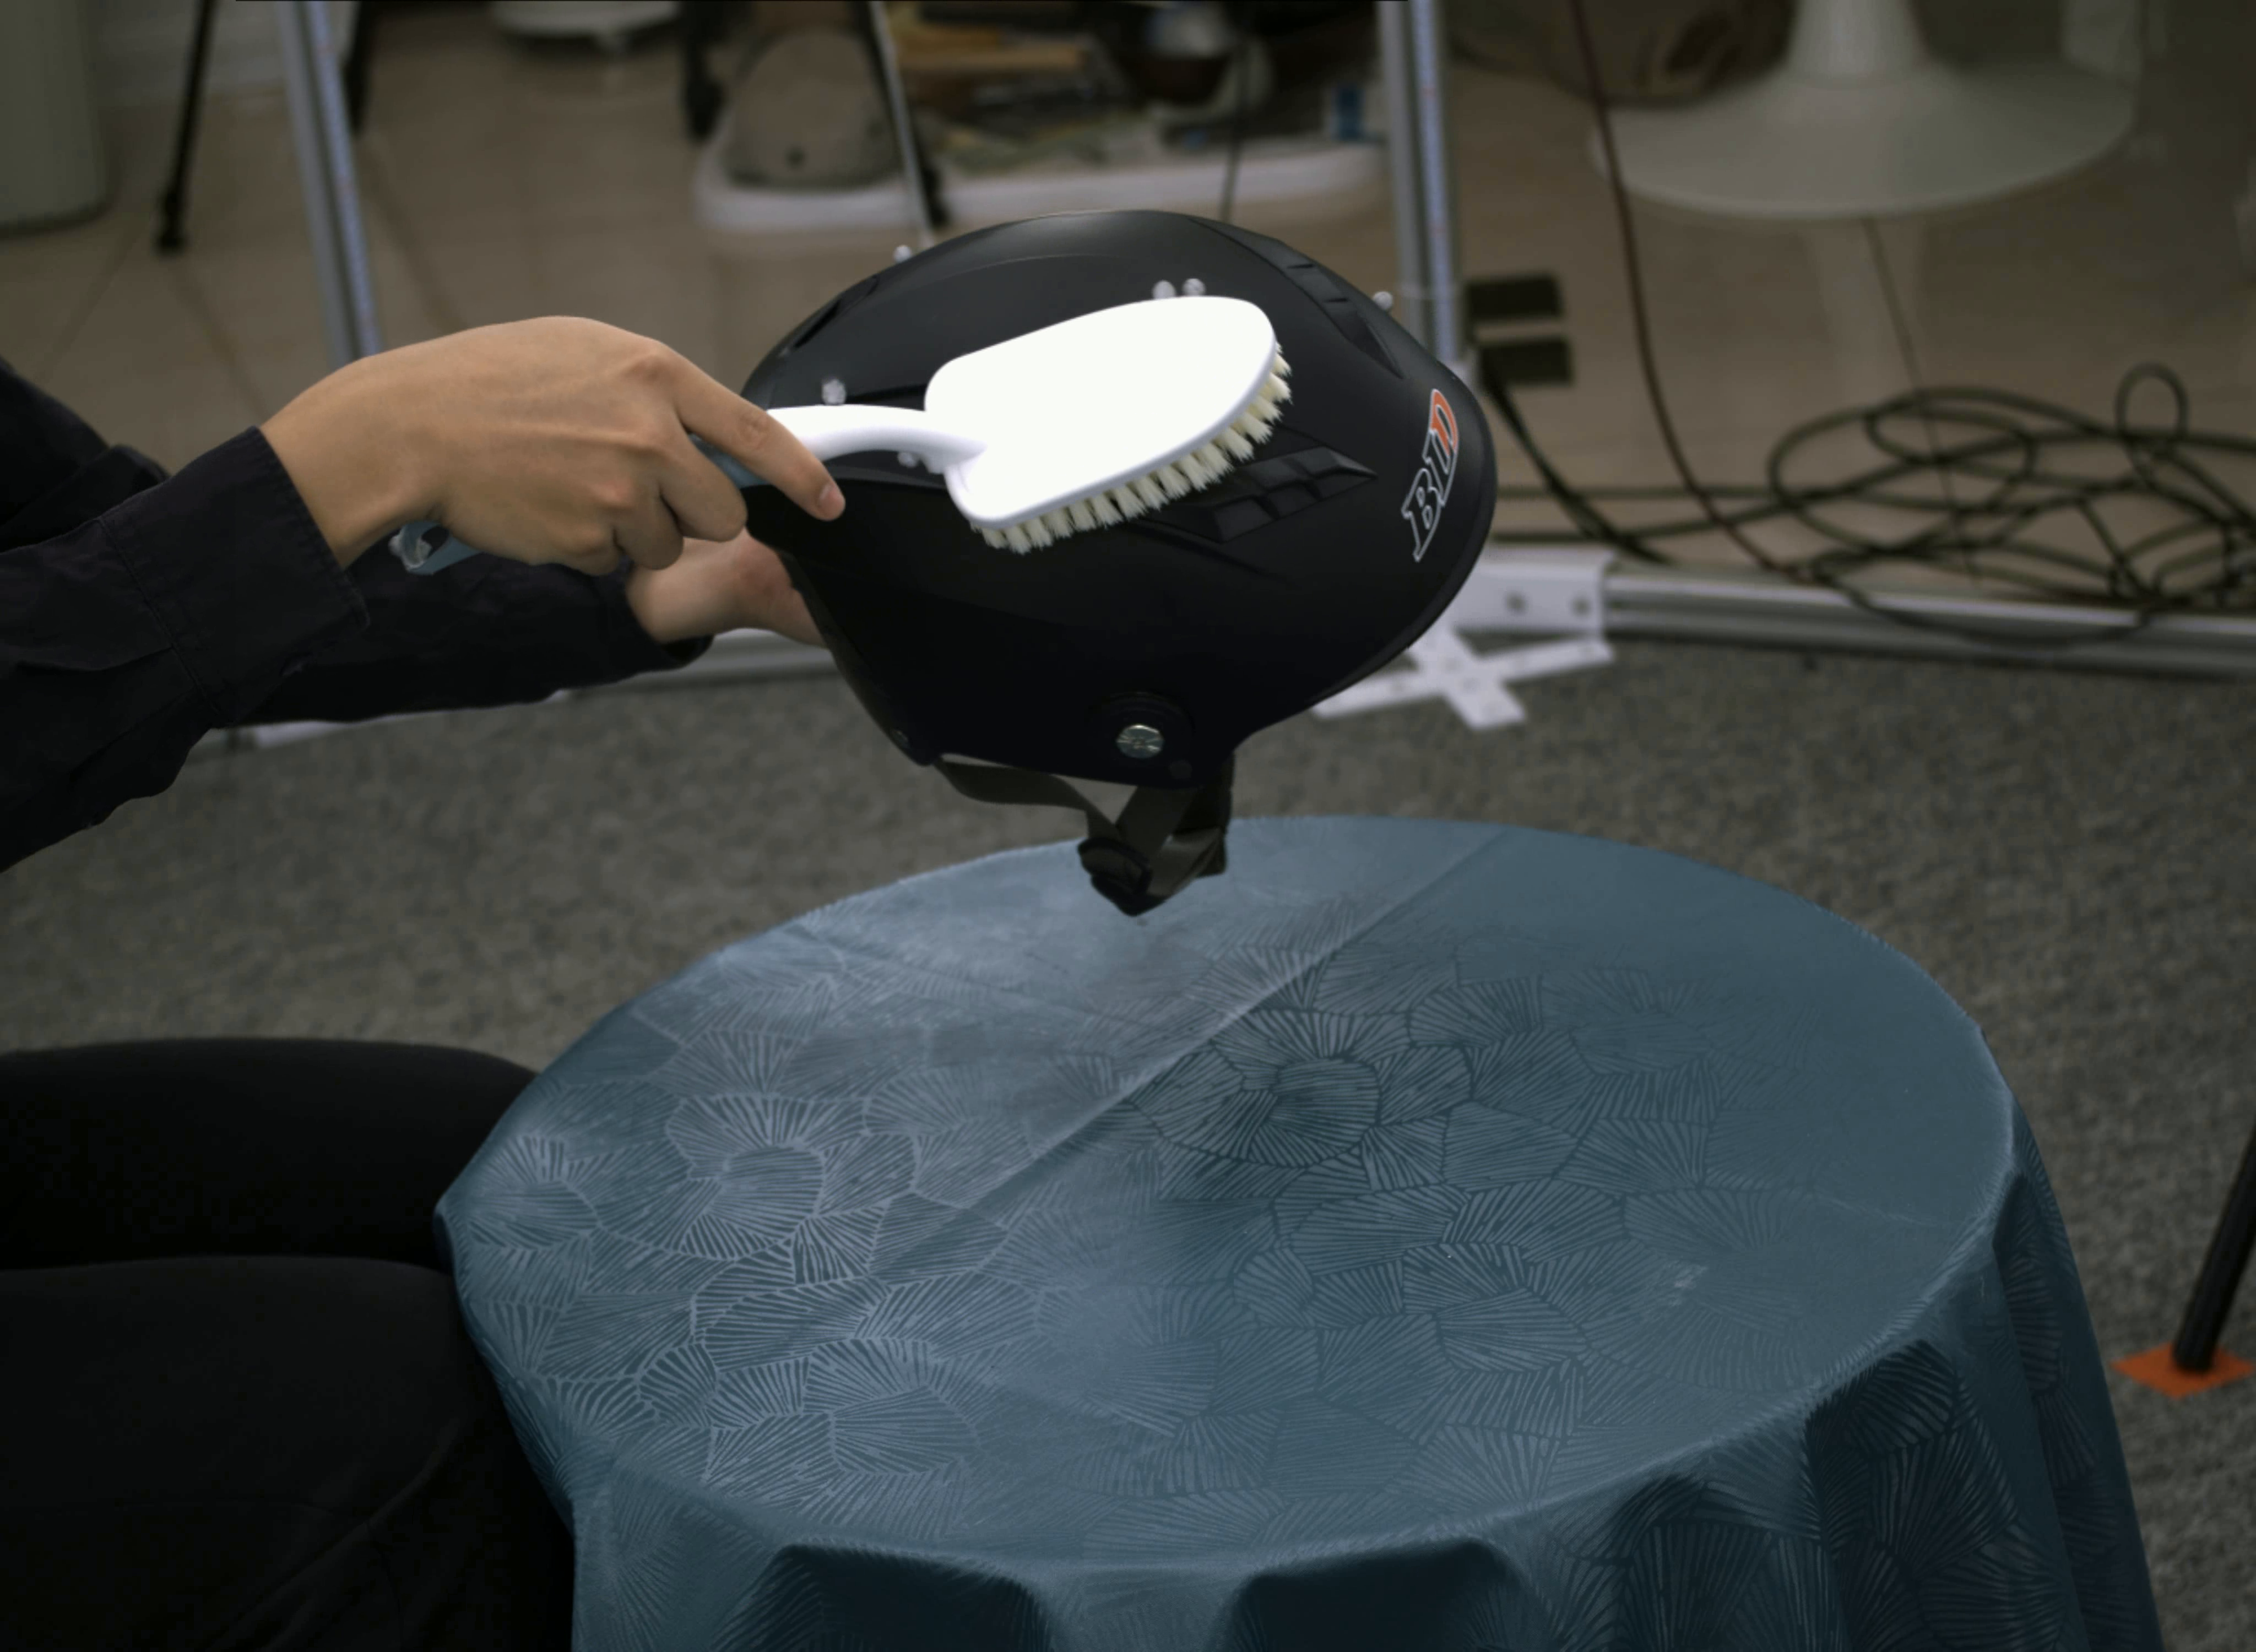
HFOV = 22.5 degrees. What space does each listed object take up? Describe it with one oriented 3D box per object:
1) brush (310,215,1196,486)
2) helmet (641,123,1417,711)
[{"bbox_3d":[-0.134,-0.160,2.039,0.324,0.086,0.082,-14,33,-7],"label":"brush"},{"bbox_3d":[-0.042,-0.177,2.159,0.276,0.175,0.243,-1,55,25],"label":"helmet"}]
